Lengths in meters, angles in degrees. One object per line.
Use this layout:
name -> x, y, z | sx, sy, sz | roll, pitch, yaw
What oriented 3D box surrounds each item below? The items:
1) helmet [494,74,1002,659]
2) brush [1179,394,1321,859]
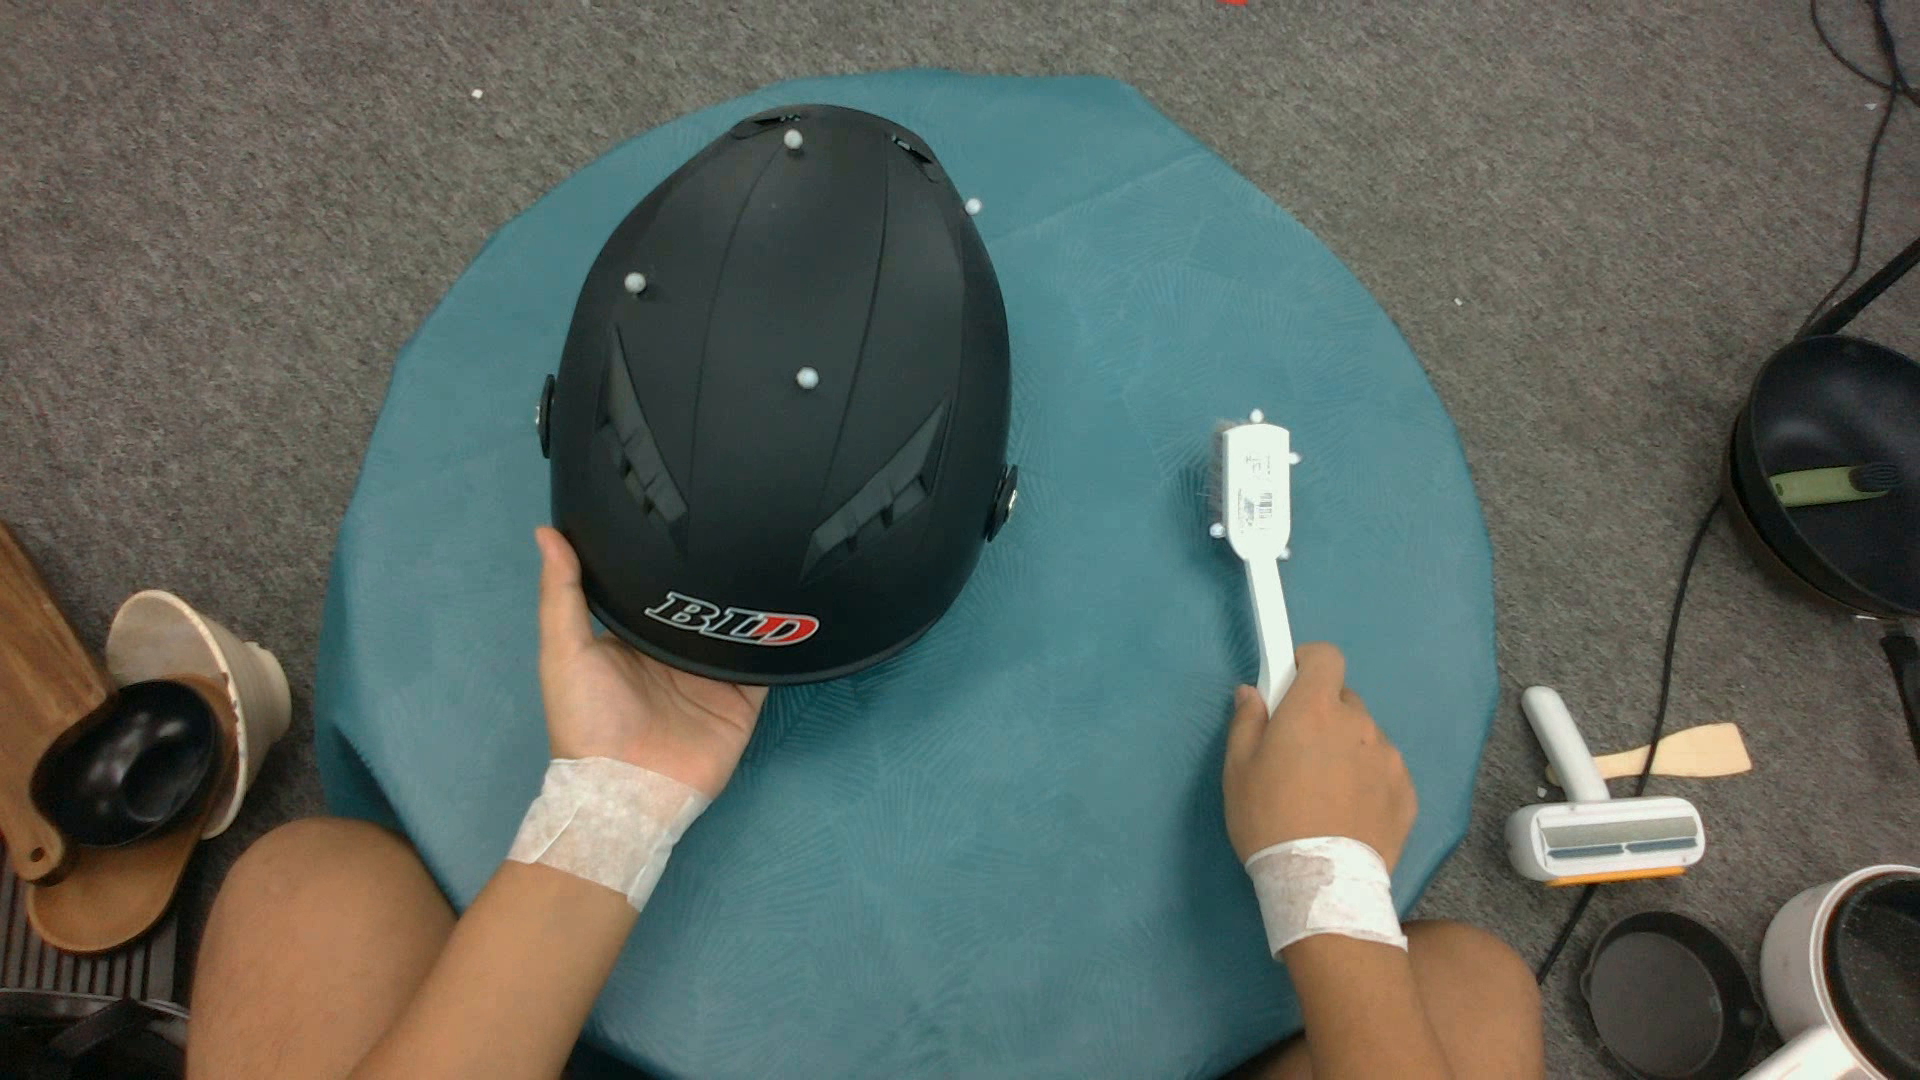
helmet -> -0.091, -0.094, 0.641 | 0.247, 0.171, 0.278 | 10, 48, -3
brush -> 0.147, 0.039, 0.708 | 0.034, 0.050, 0.244 | -4, 78, -13
